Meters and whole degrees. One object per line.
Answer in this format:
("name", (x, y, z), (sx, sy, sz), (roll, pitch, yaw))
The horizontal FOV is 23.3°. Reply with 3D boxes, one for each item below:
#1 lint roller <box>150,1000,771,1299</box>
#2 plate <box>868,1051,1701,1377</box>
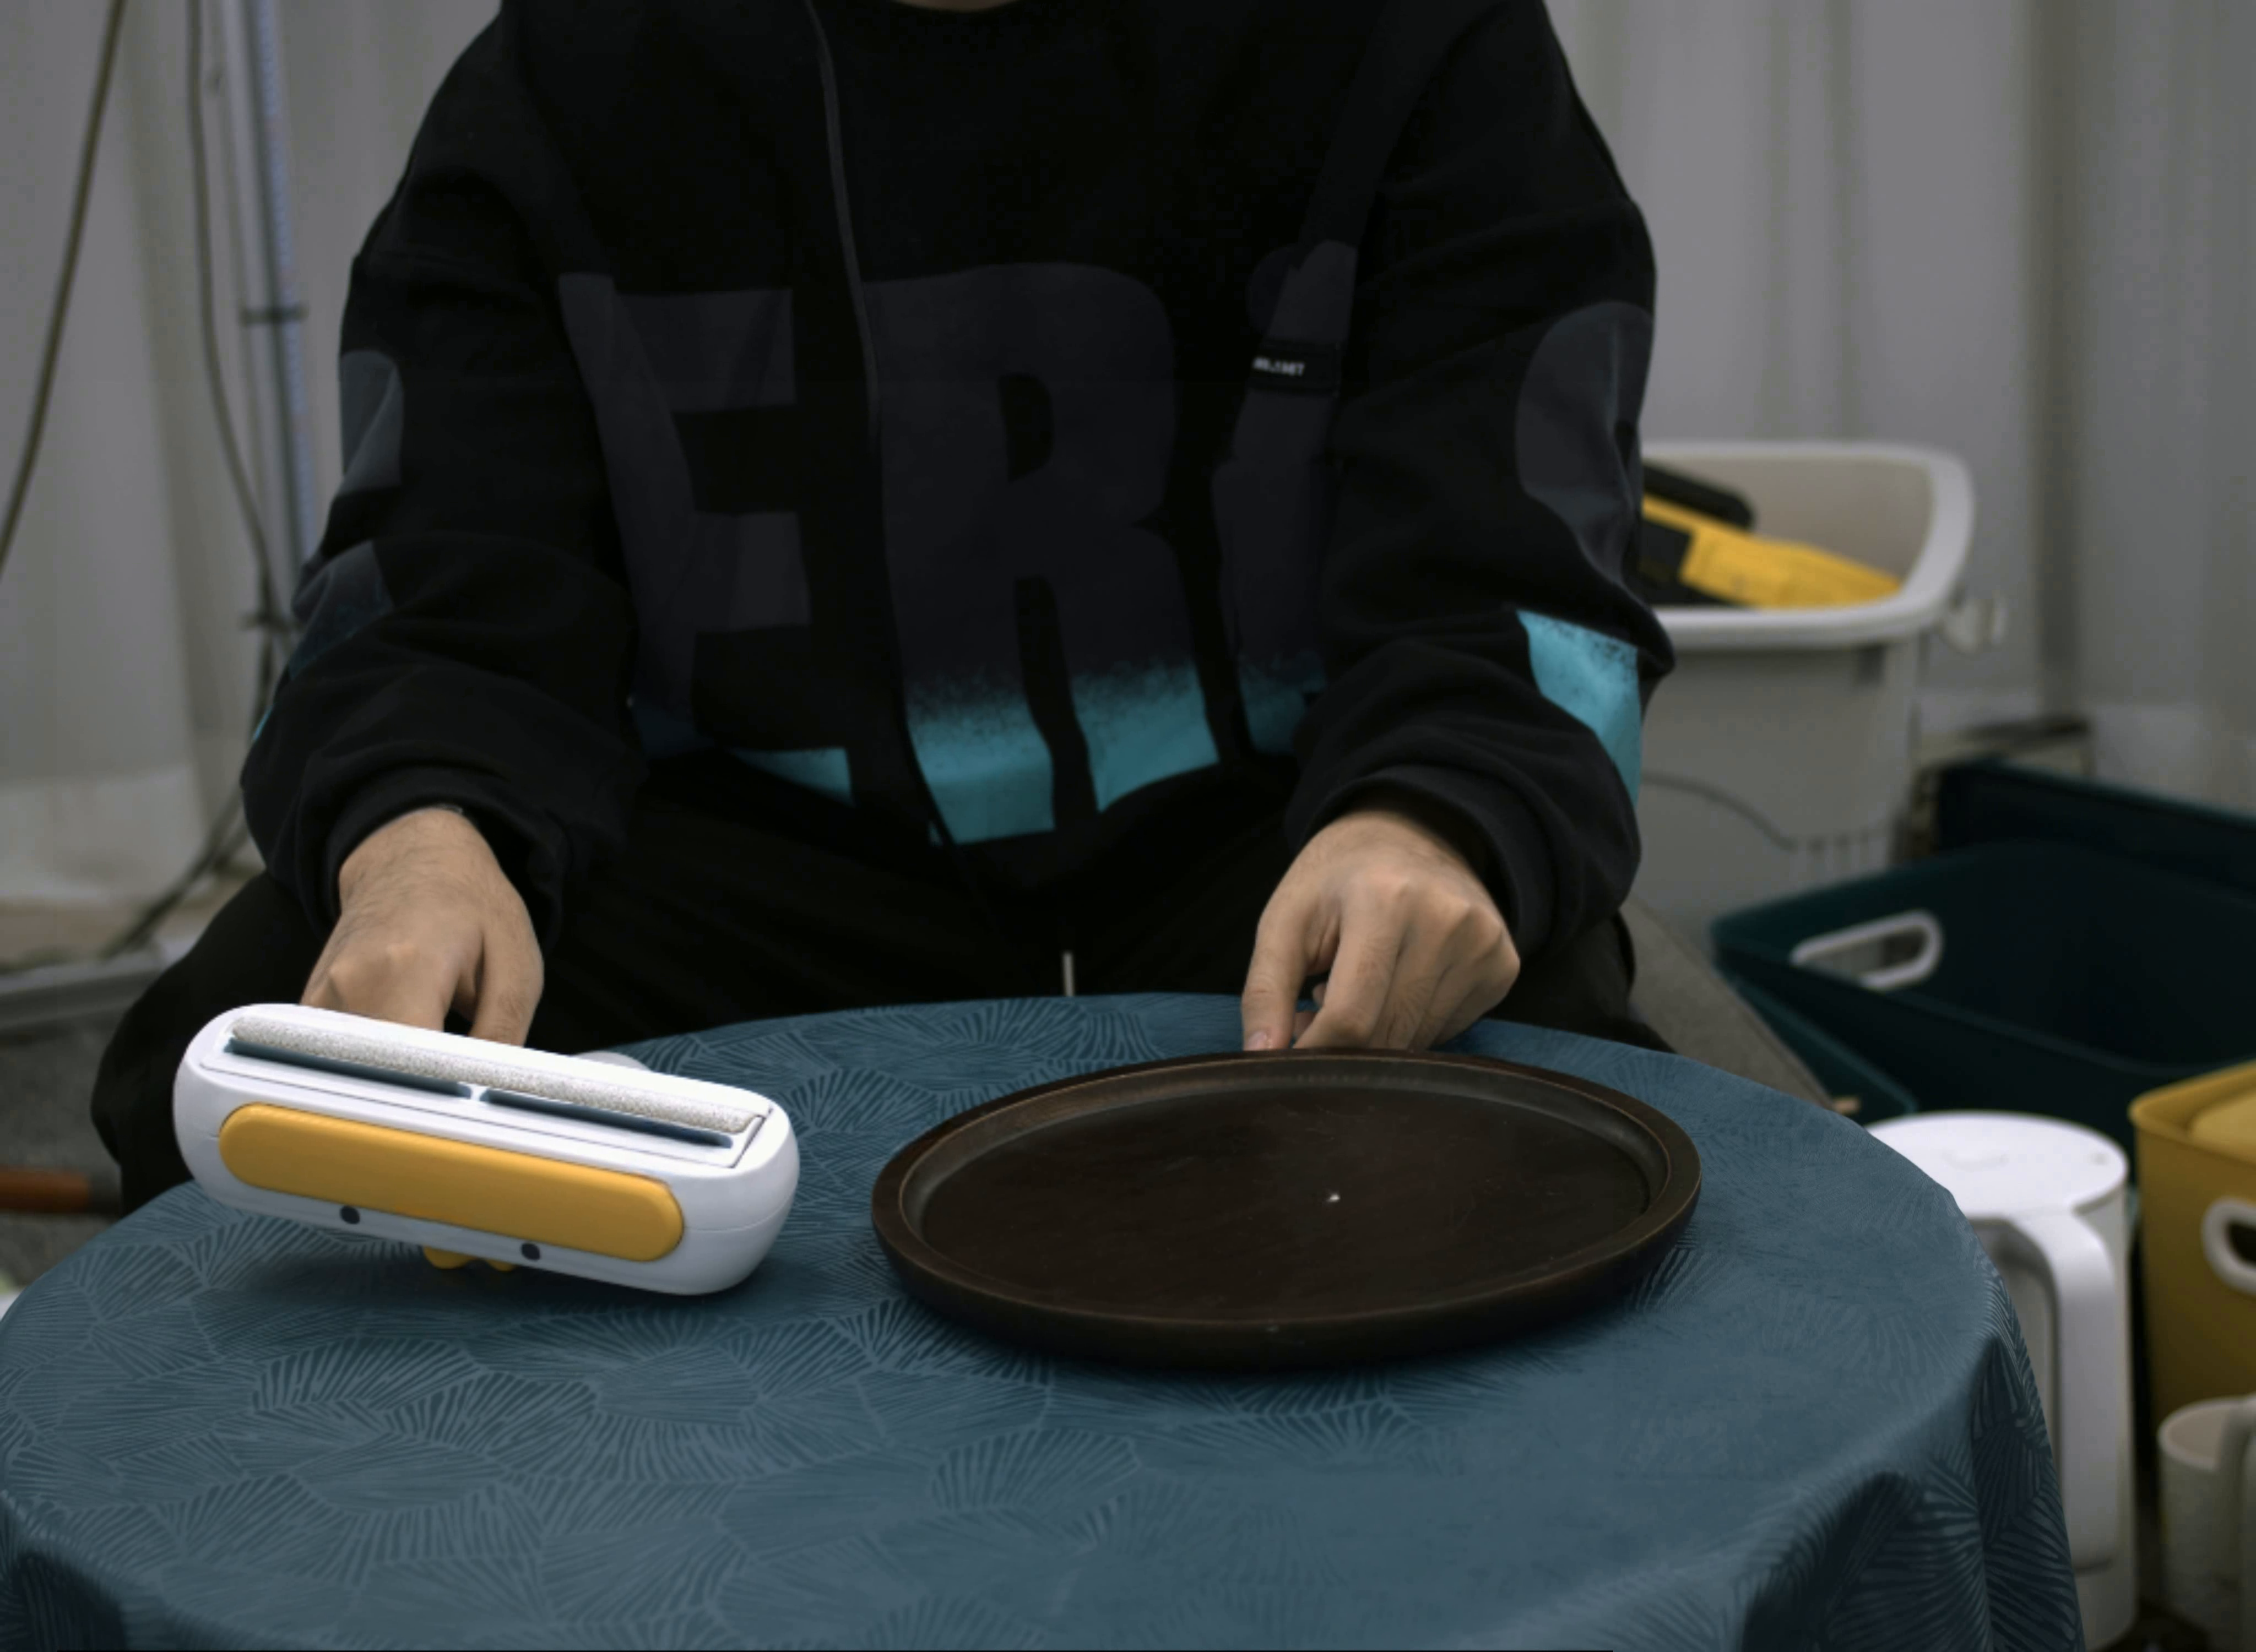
("lint roller", (-0.187, 0.090, 1.715), (0.193, 0.074, 0.193), (7, 15, 15))
("plate", (0.047, 0.115, 1.657), (0.254, 0.029, 0.256), (-3, 14, 0))
